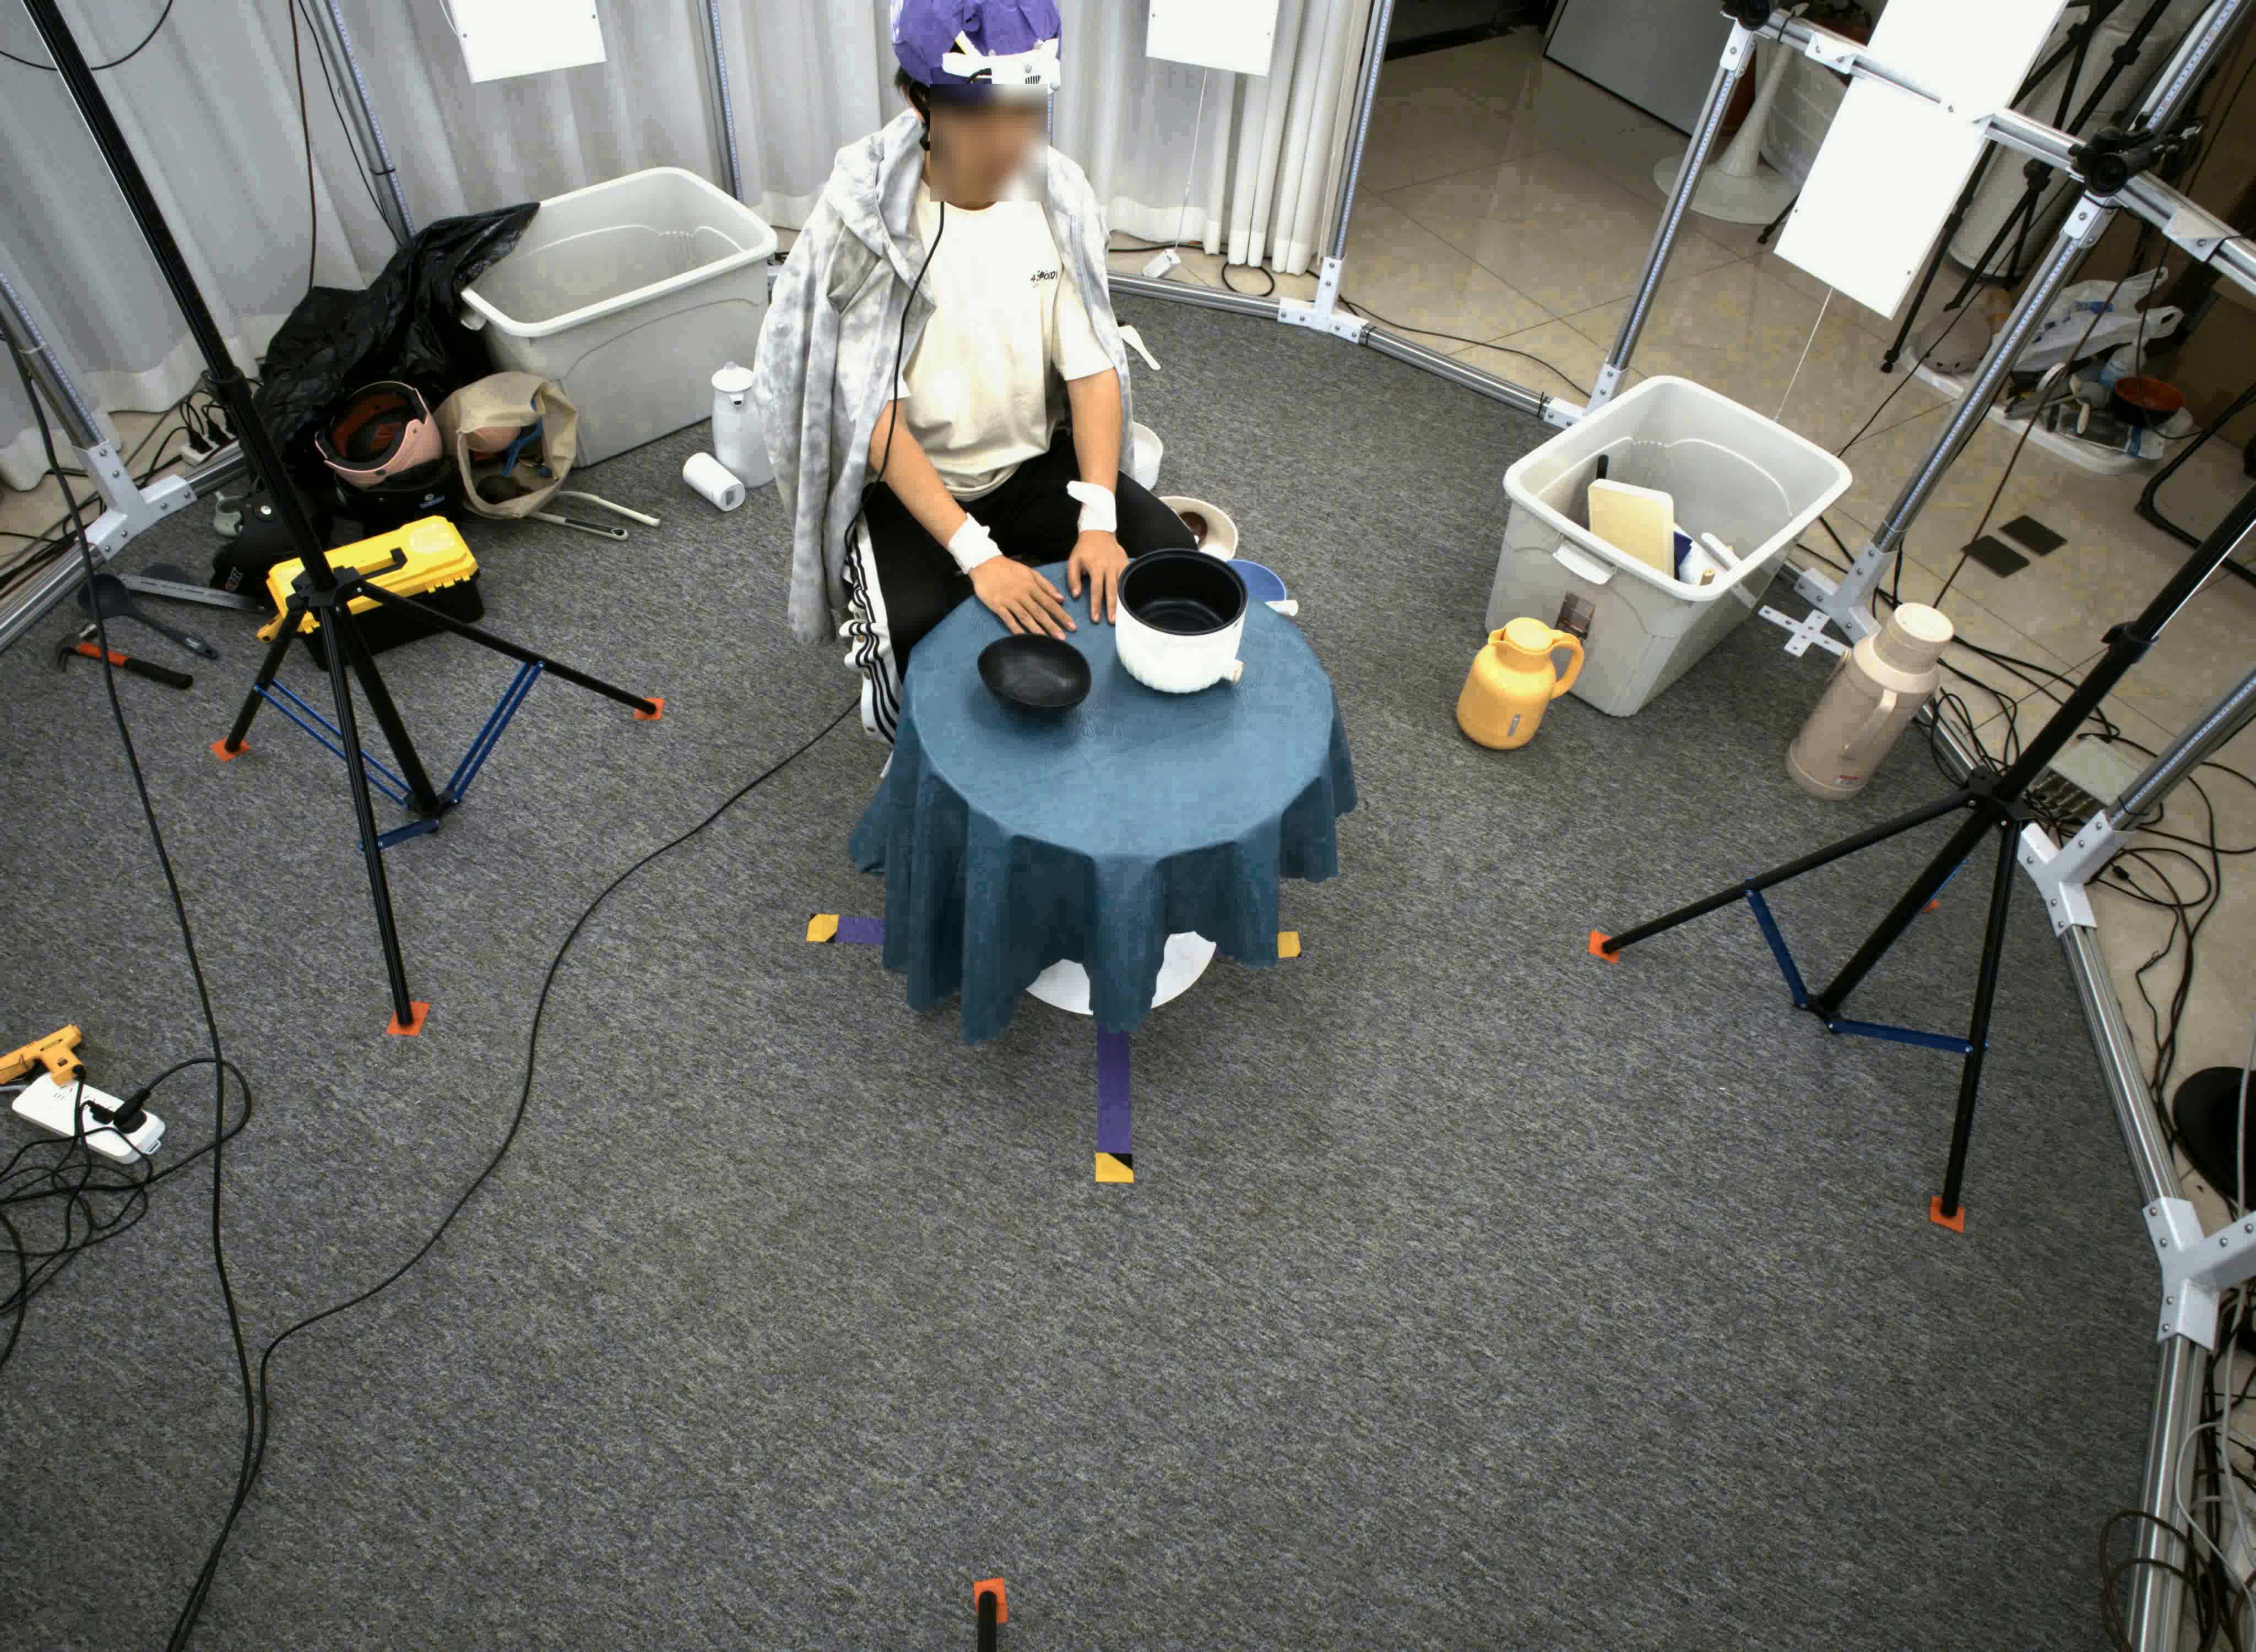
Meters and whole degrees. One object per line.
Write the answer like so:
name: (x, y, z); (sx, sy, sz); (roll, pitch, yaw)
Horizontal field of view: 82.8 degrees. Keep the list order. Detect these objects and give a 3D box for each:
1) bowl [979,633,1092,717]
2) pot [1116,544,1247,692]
bowl: (-0.131, -0.199, 1.783); (0.172, 0.065, 0.139); (29, 52, 21)
pot: (0.077, -0.284, 1.824); (0.192, 0.139, 0.244); (21, 51, 18)
